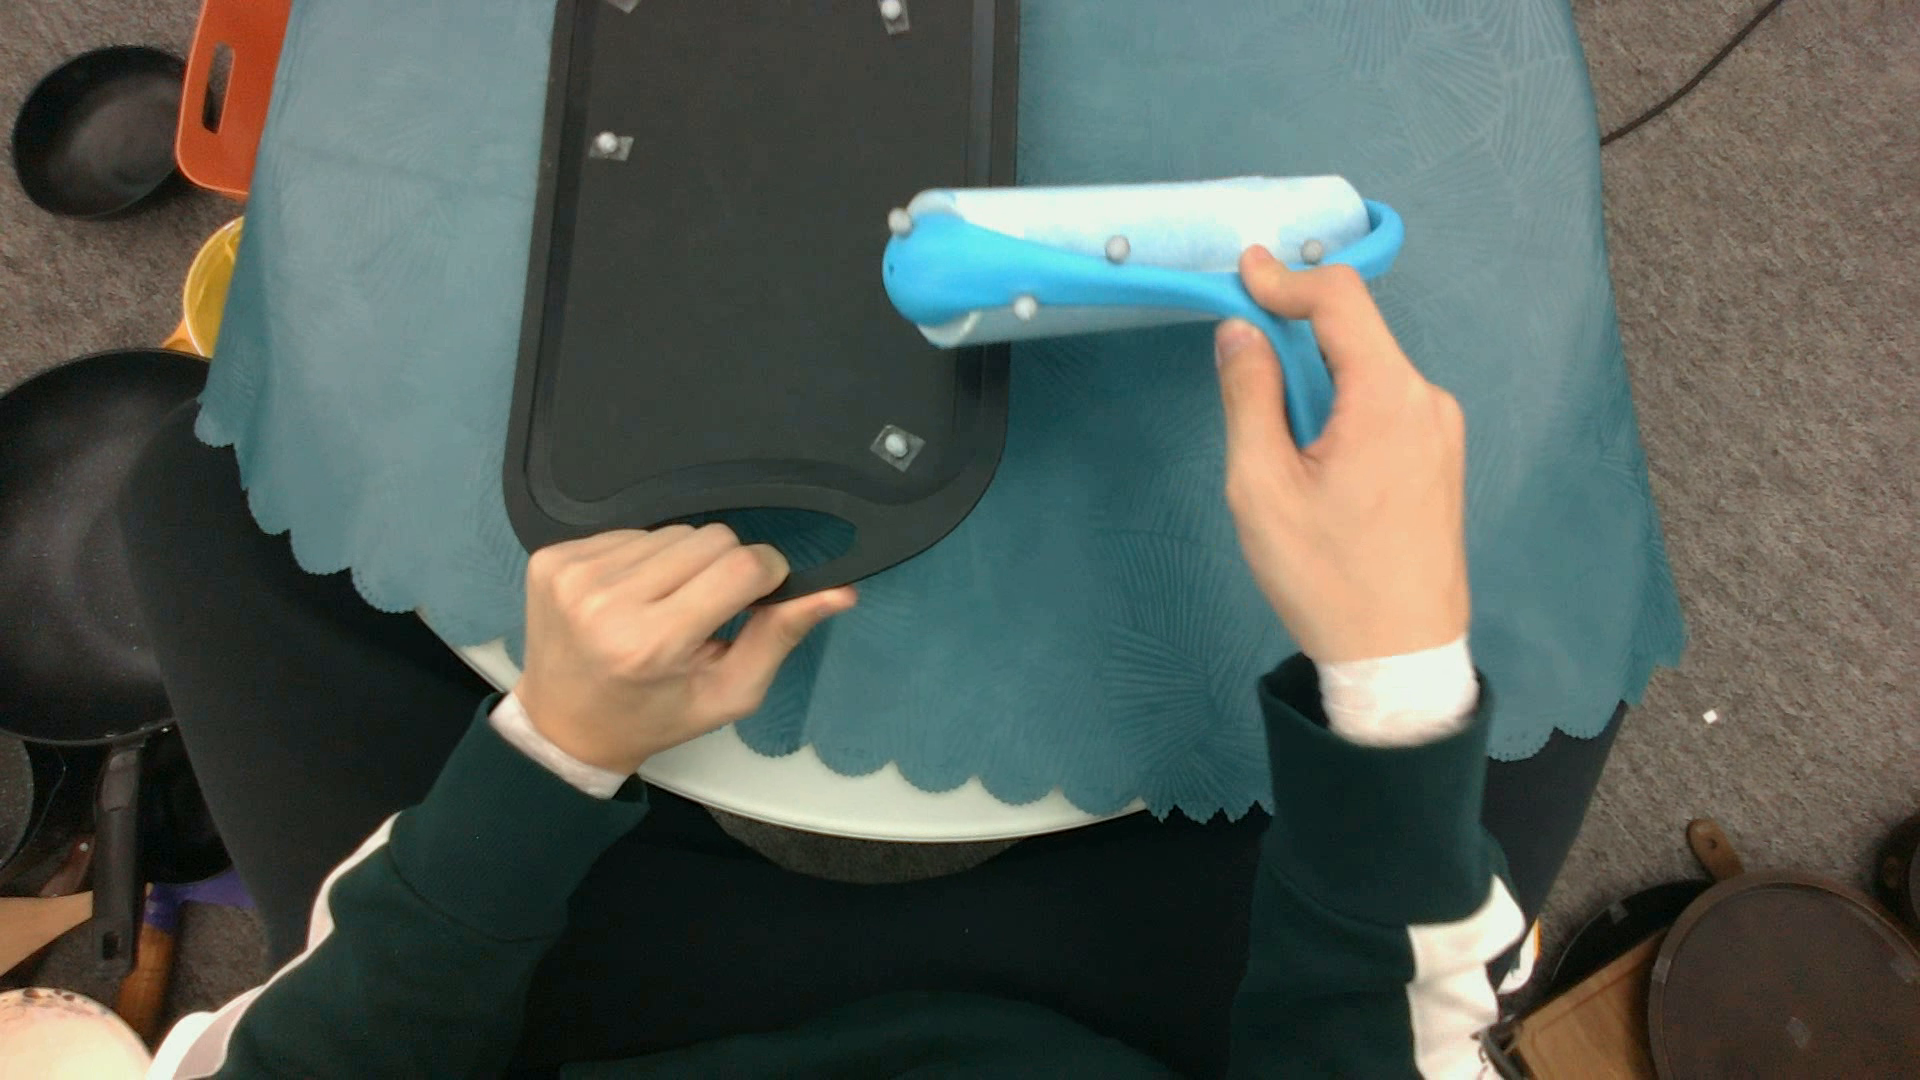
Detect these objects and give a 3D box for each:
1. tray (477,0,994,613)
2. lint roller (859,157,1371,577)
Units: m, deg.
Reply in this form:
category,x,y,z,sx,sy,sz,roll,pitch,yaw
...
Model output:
category,x,y,z,sx,sy,sz,roll,pitch,yaw
tray,-0.090,-0.129,0.561,0.211,0.010,0.326,-3,71,11
lint roller,0.094,-0.074,0.506,0.230,0.067,0.180,-15,56,-35
